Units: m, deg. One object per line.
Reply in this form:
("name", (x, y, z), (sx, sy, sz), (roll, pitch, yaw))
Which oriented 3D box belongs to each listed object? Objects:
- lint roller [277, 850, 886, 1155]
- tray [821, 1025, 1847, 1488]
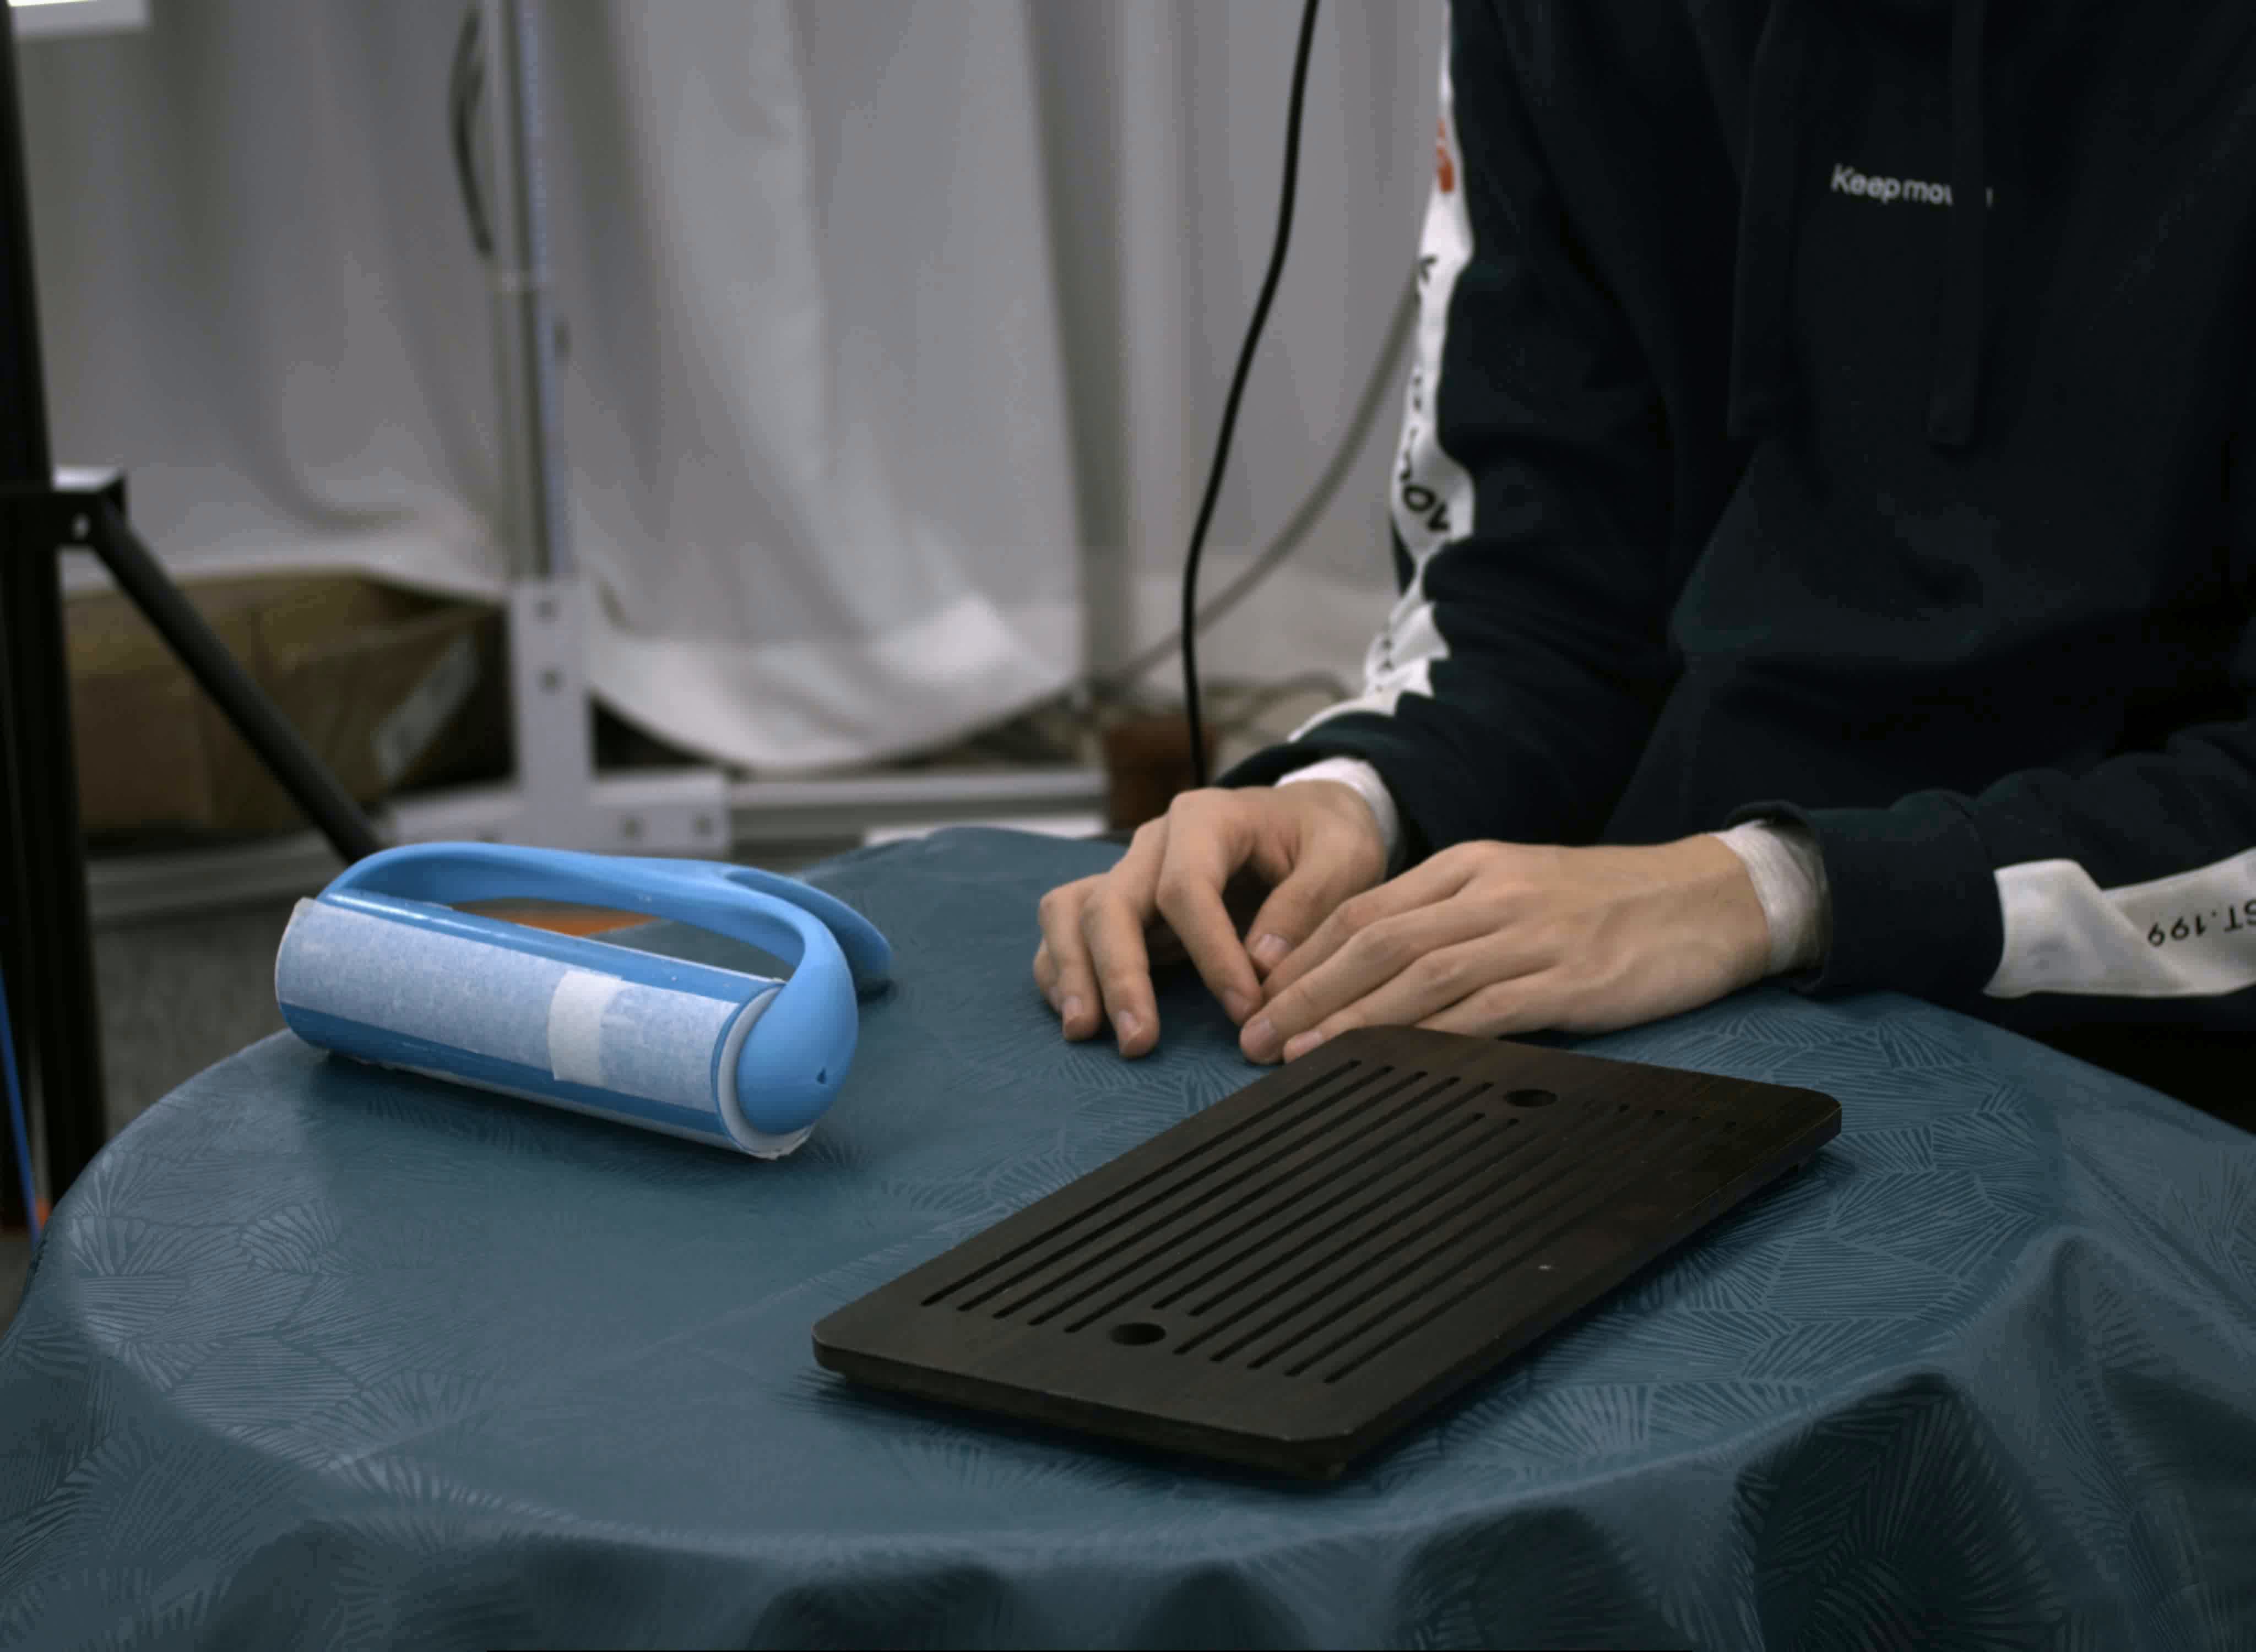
("lint roller", (-0.144, 0.044, 1.703), (0.234, 0.068, 0.176), (7, 20, 37))
("tray", (0.065, 0.117, 1.484), (0.173, 0.018, 0.300), (7, 19, 33))
